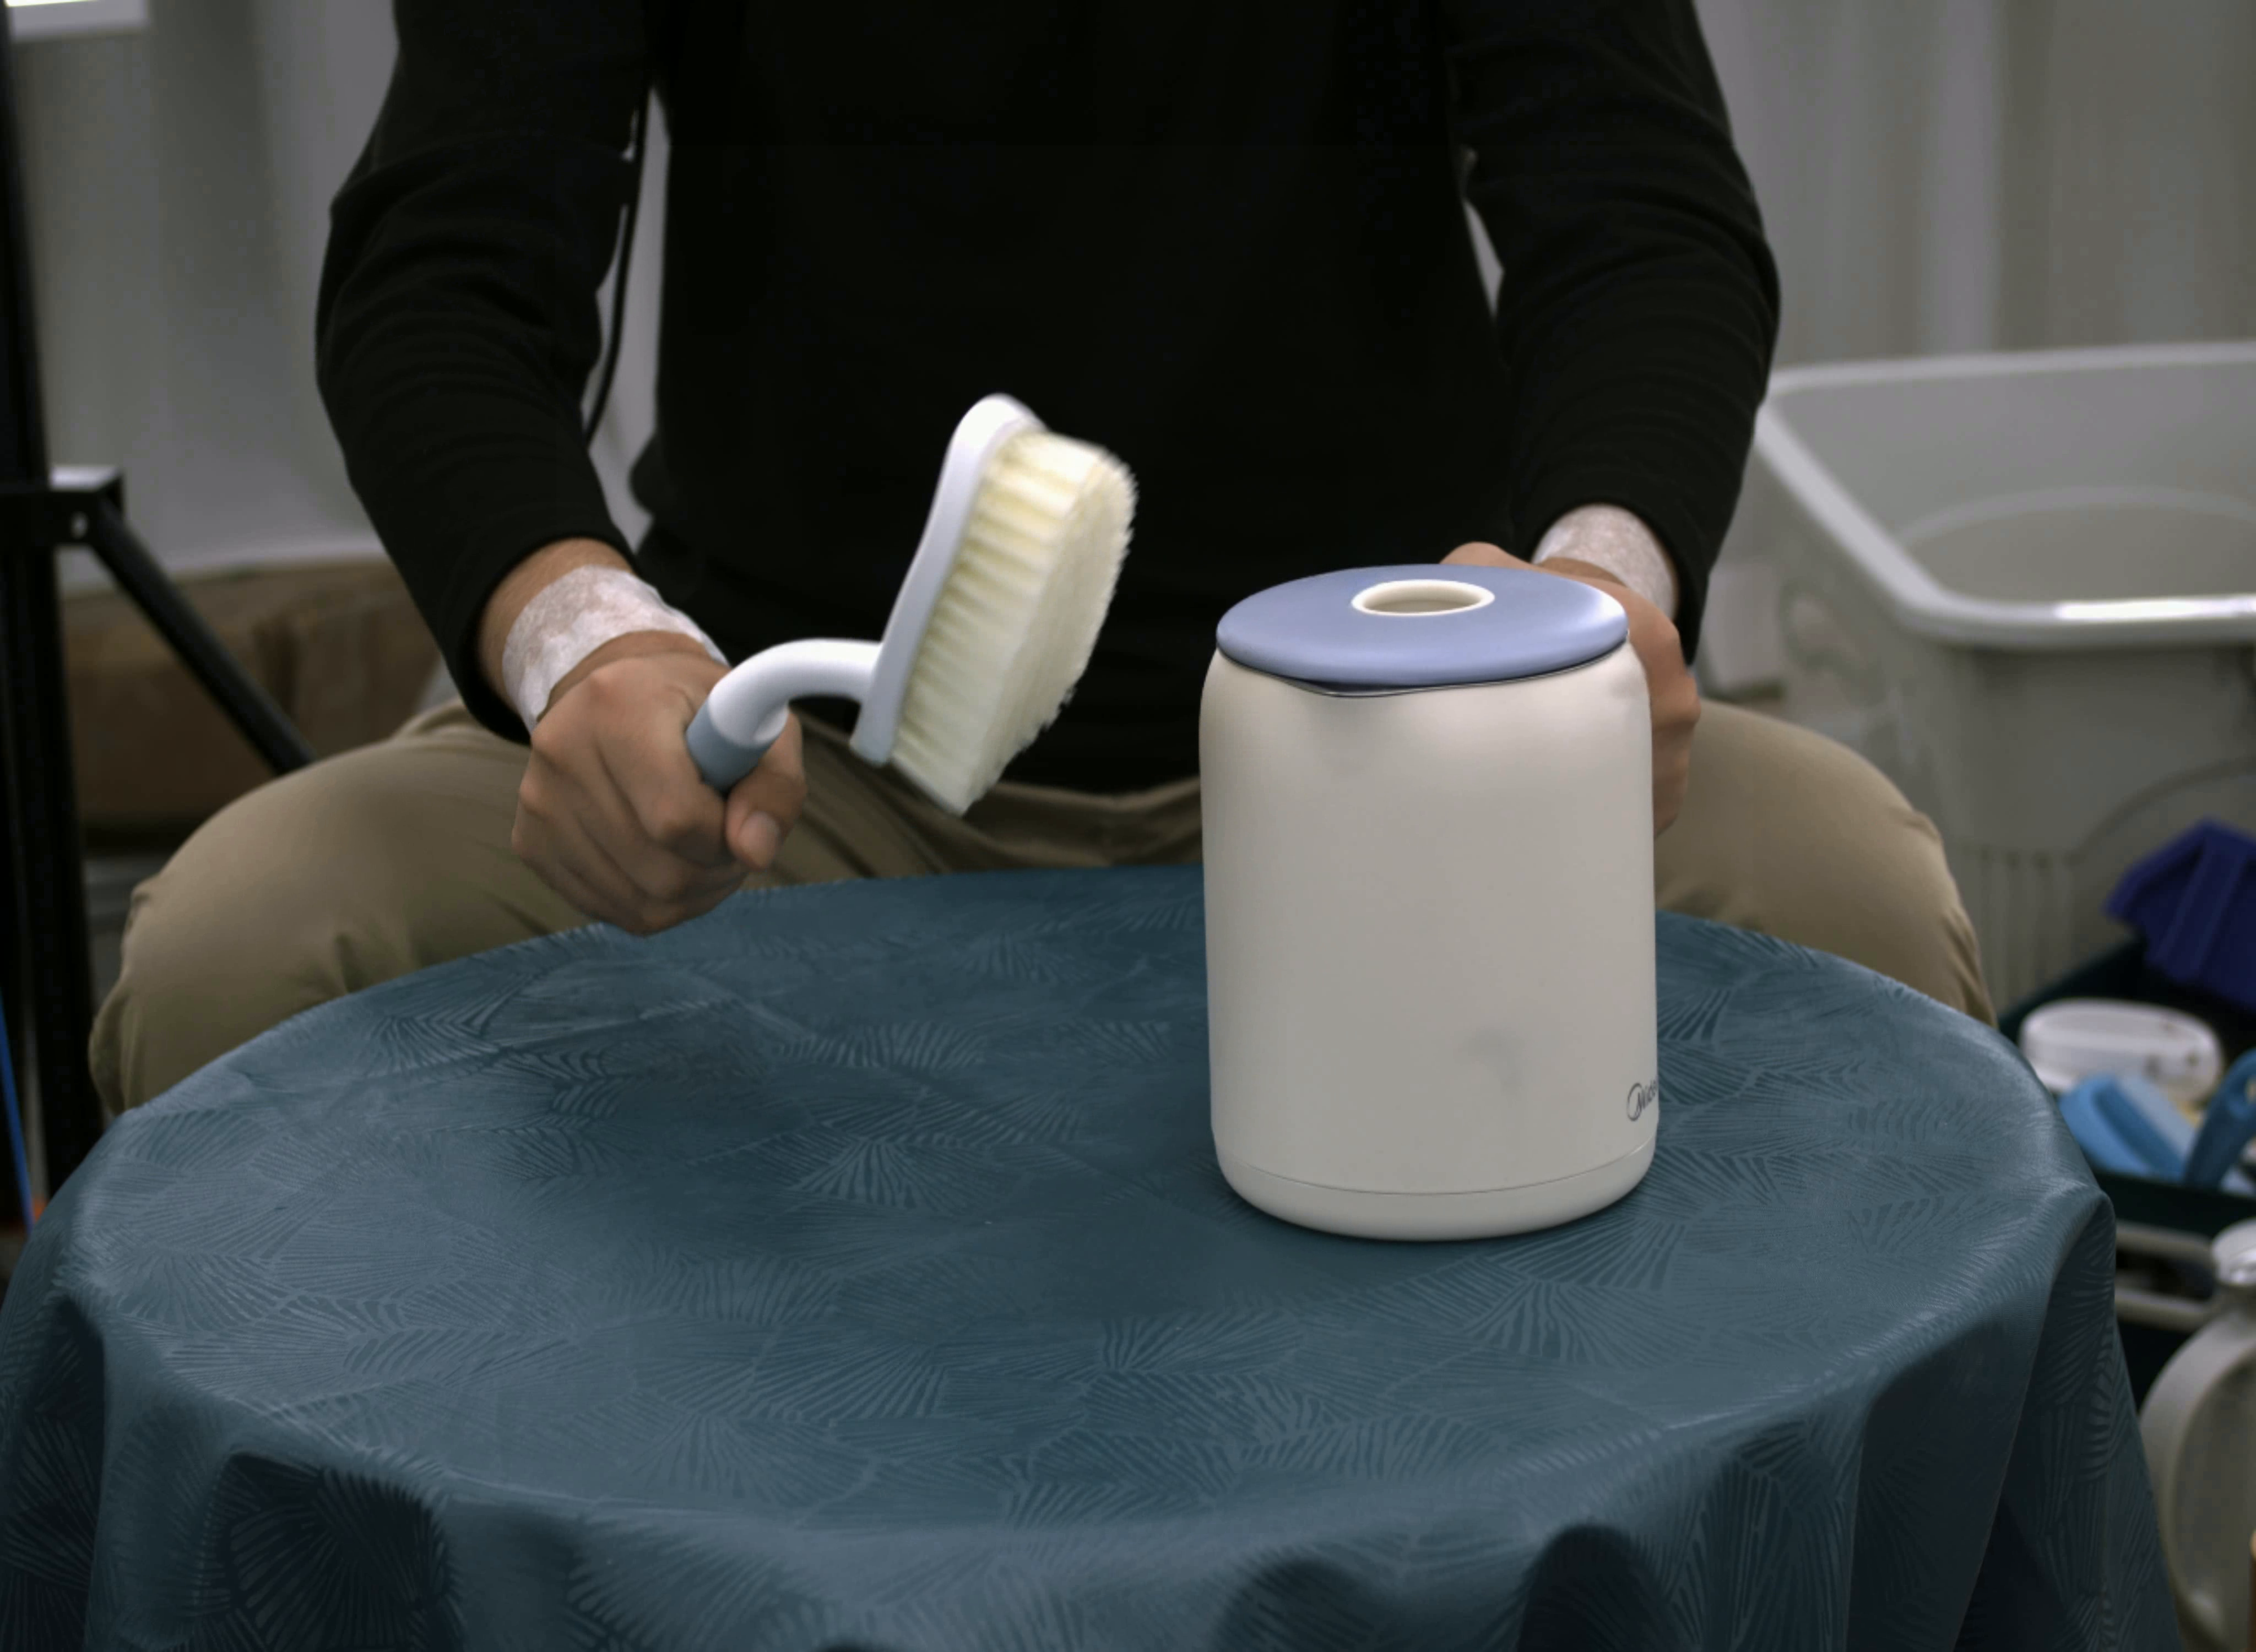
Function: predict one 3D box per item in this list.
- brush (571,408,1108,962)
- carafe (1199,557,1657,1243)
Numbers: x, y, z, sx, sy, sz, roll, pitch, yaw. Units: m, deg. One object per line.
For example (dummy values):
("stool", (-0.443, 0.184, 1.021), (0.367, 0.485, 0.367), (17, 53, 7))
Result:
("brush", (-0.077, -0.017, 1.575), (0.081, 0.086, 0.328), (-4, -25, -27))
("carafe", (0.096, 0.014, 1.559), (0.134, 0.182, 0.188), (4, 16, 21))
